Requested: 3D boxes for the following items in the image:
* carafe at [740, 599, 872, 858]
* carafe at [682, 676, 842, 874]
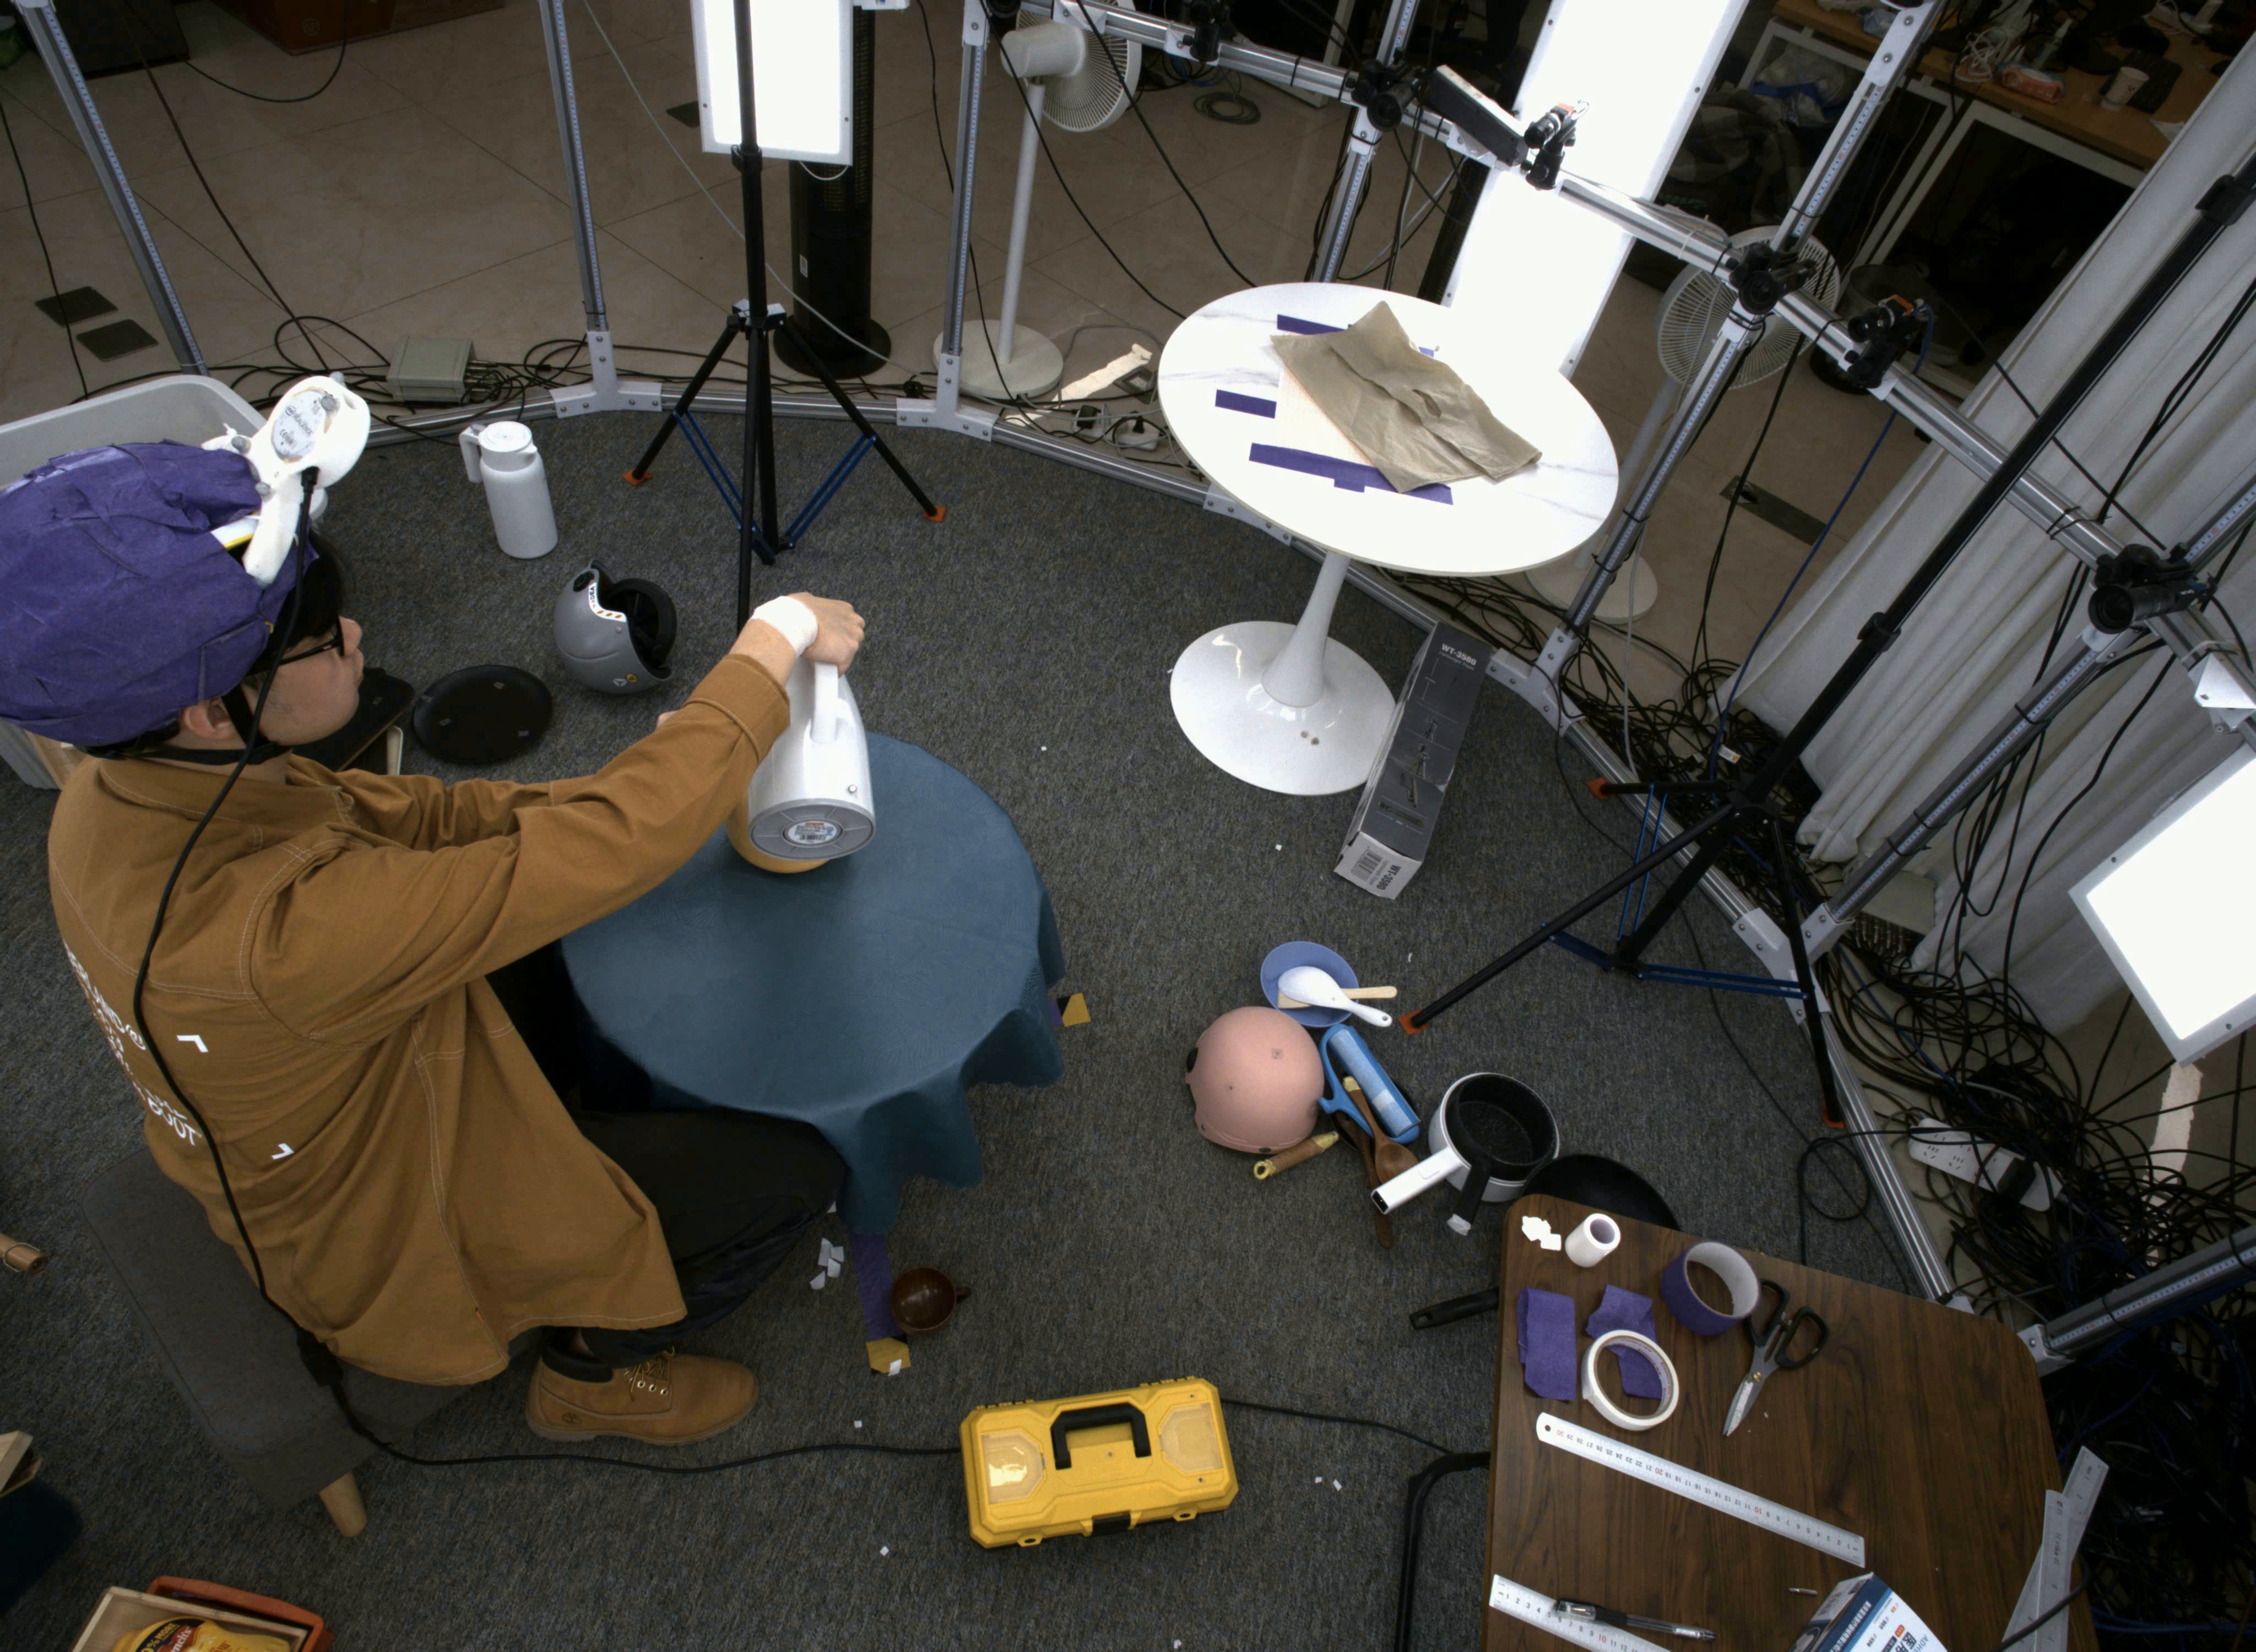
[{"bbox_3d":[-0.343,-0.117,1.379,0.134,0.168,0.245,4,61,-28],"label":"carafe"},{"bbox_3d":[-0.446,-0.073,1.603,0.203,0.266,0.159,-2,51,-16],"label":"carafe"}]
